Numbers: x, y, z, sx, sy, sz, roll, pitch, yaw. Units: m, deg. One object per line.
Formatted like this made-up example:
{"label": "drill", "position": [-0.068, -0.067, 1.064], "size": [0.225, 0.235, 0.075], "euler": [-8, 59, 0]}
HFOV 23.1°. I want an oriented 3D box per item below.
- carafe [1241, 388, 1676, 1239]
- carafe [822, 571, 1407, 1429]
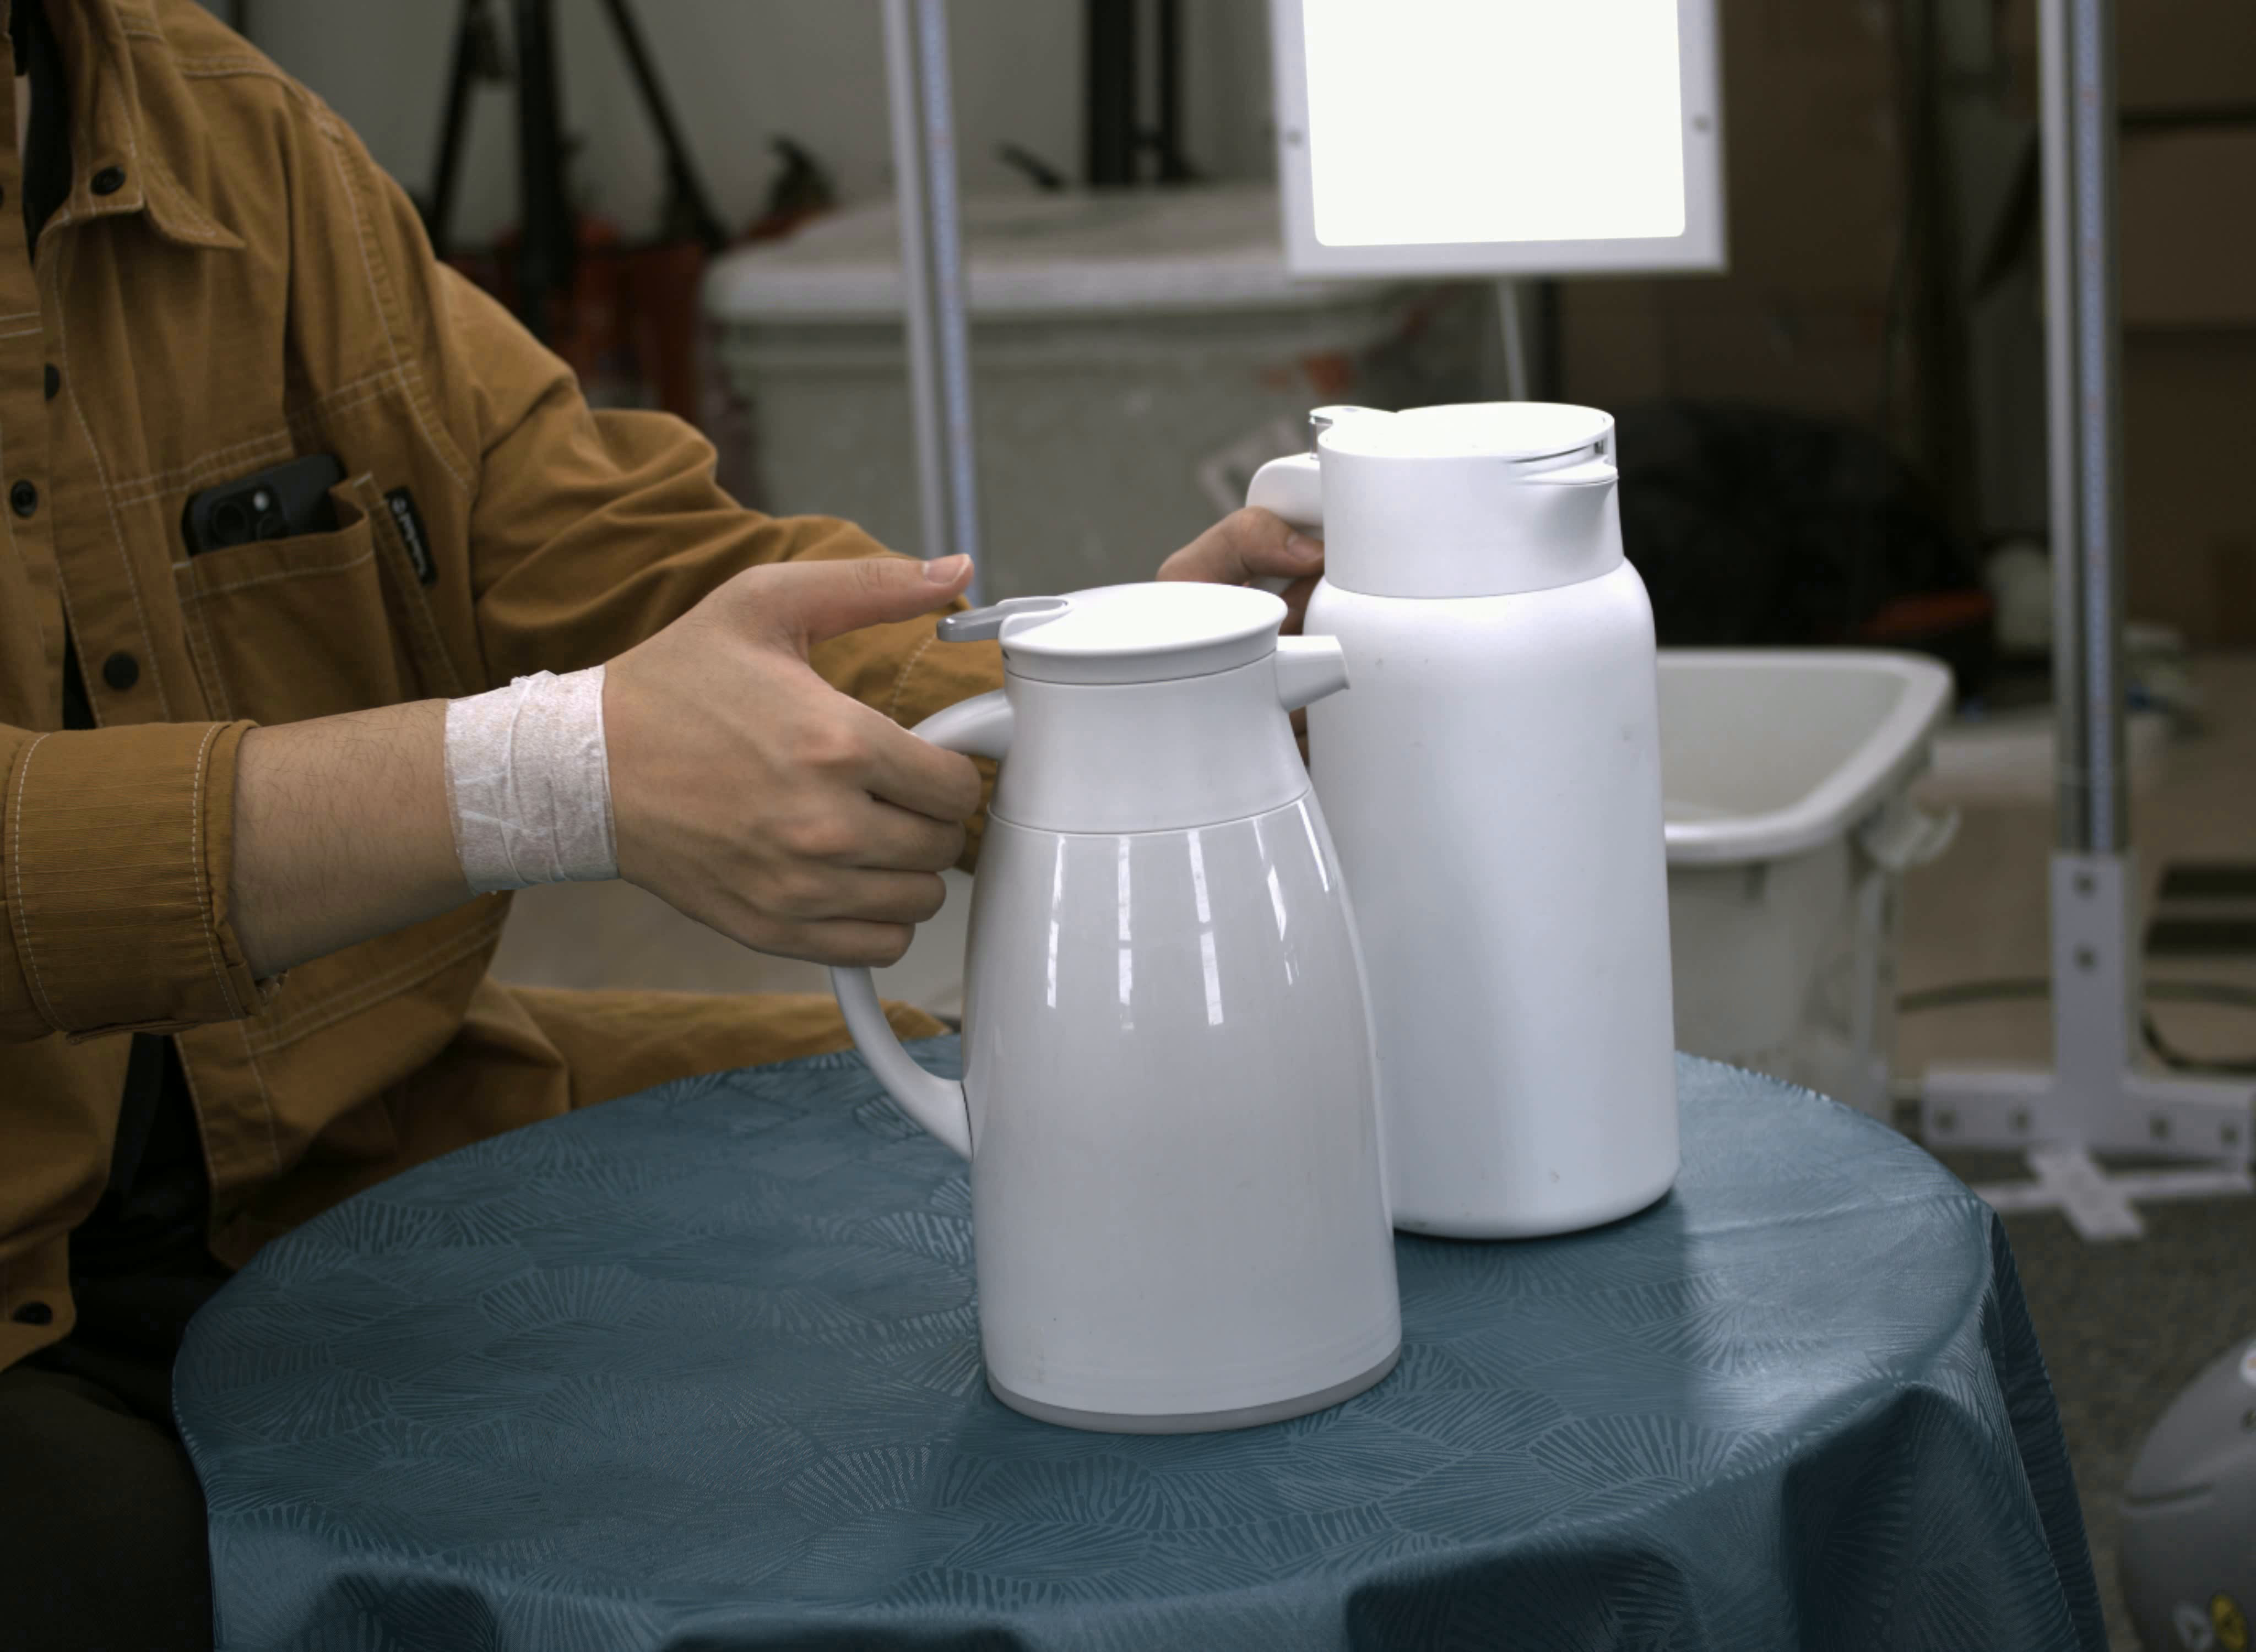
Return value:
{"label": "carafe", "position": [0.107, -0.007, 1.839], "size": [0.121, 0.270, 0.176], "euler": [-17, 18, -35]}
{"label": "carafe", "position": [-0.007, 0.049, 1.692], "size": [0.167, 0.249, 0.132], "euler": [-6, 14, 0]}
